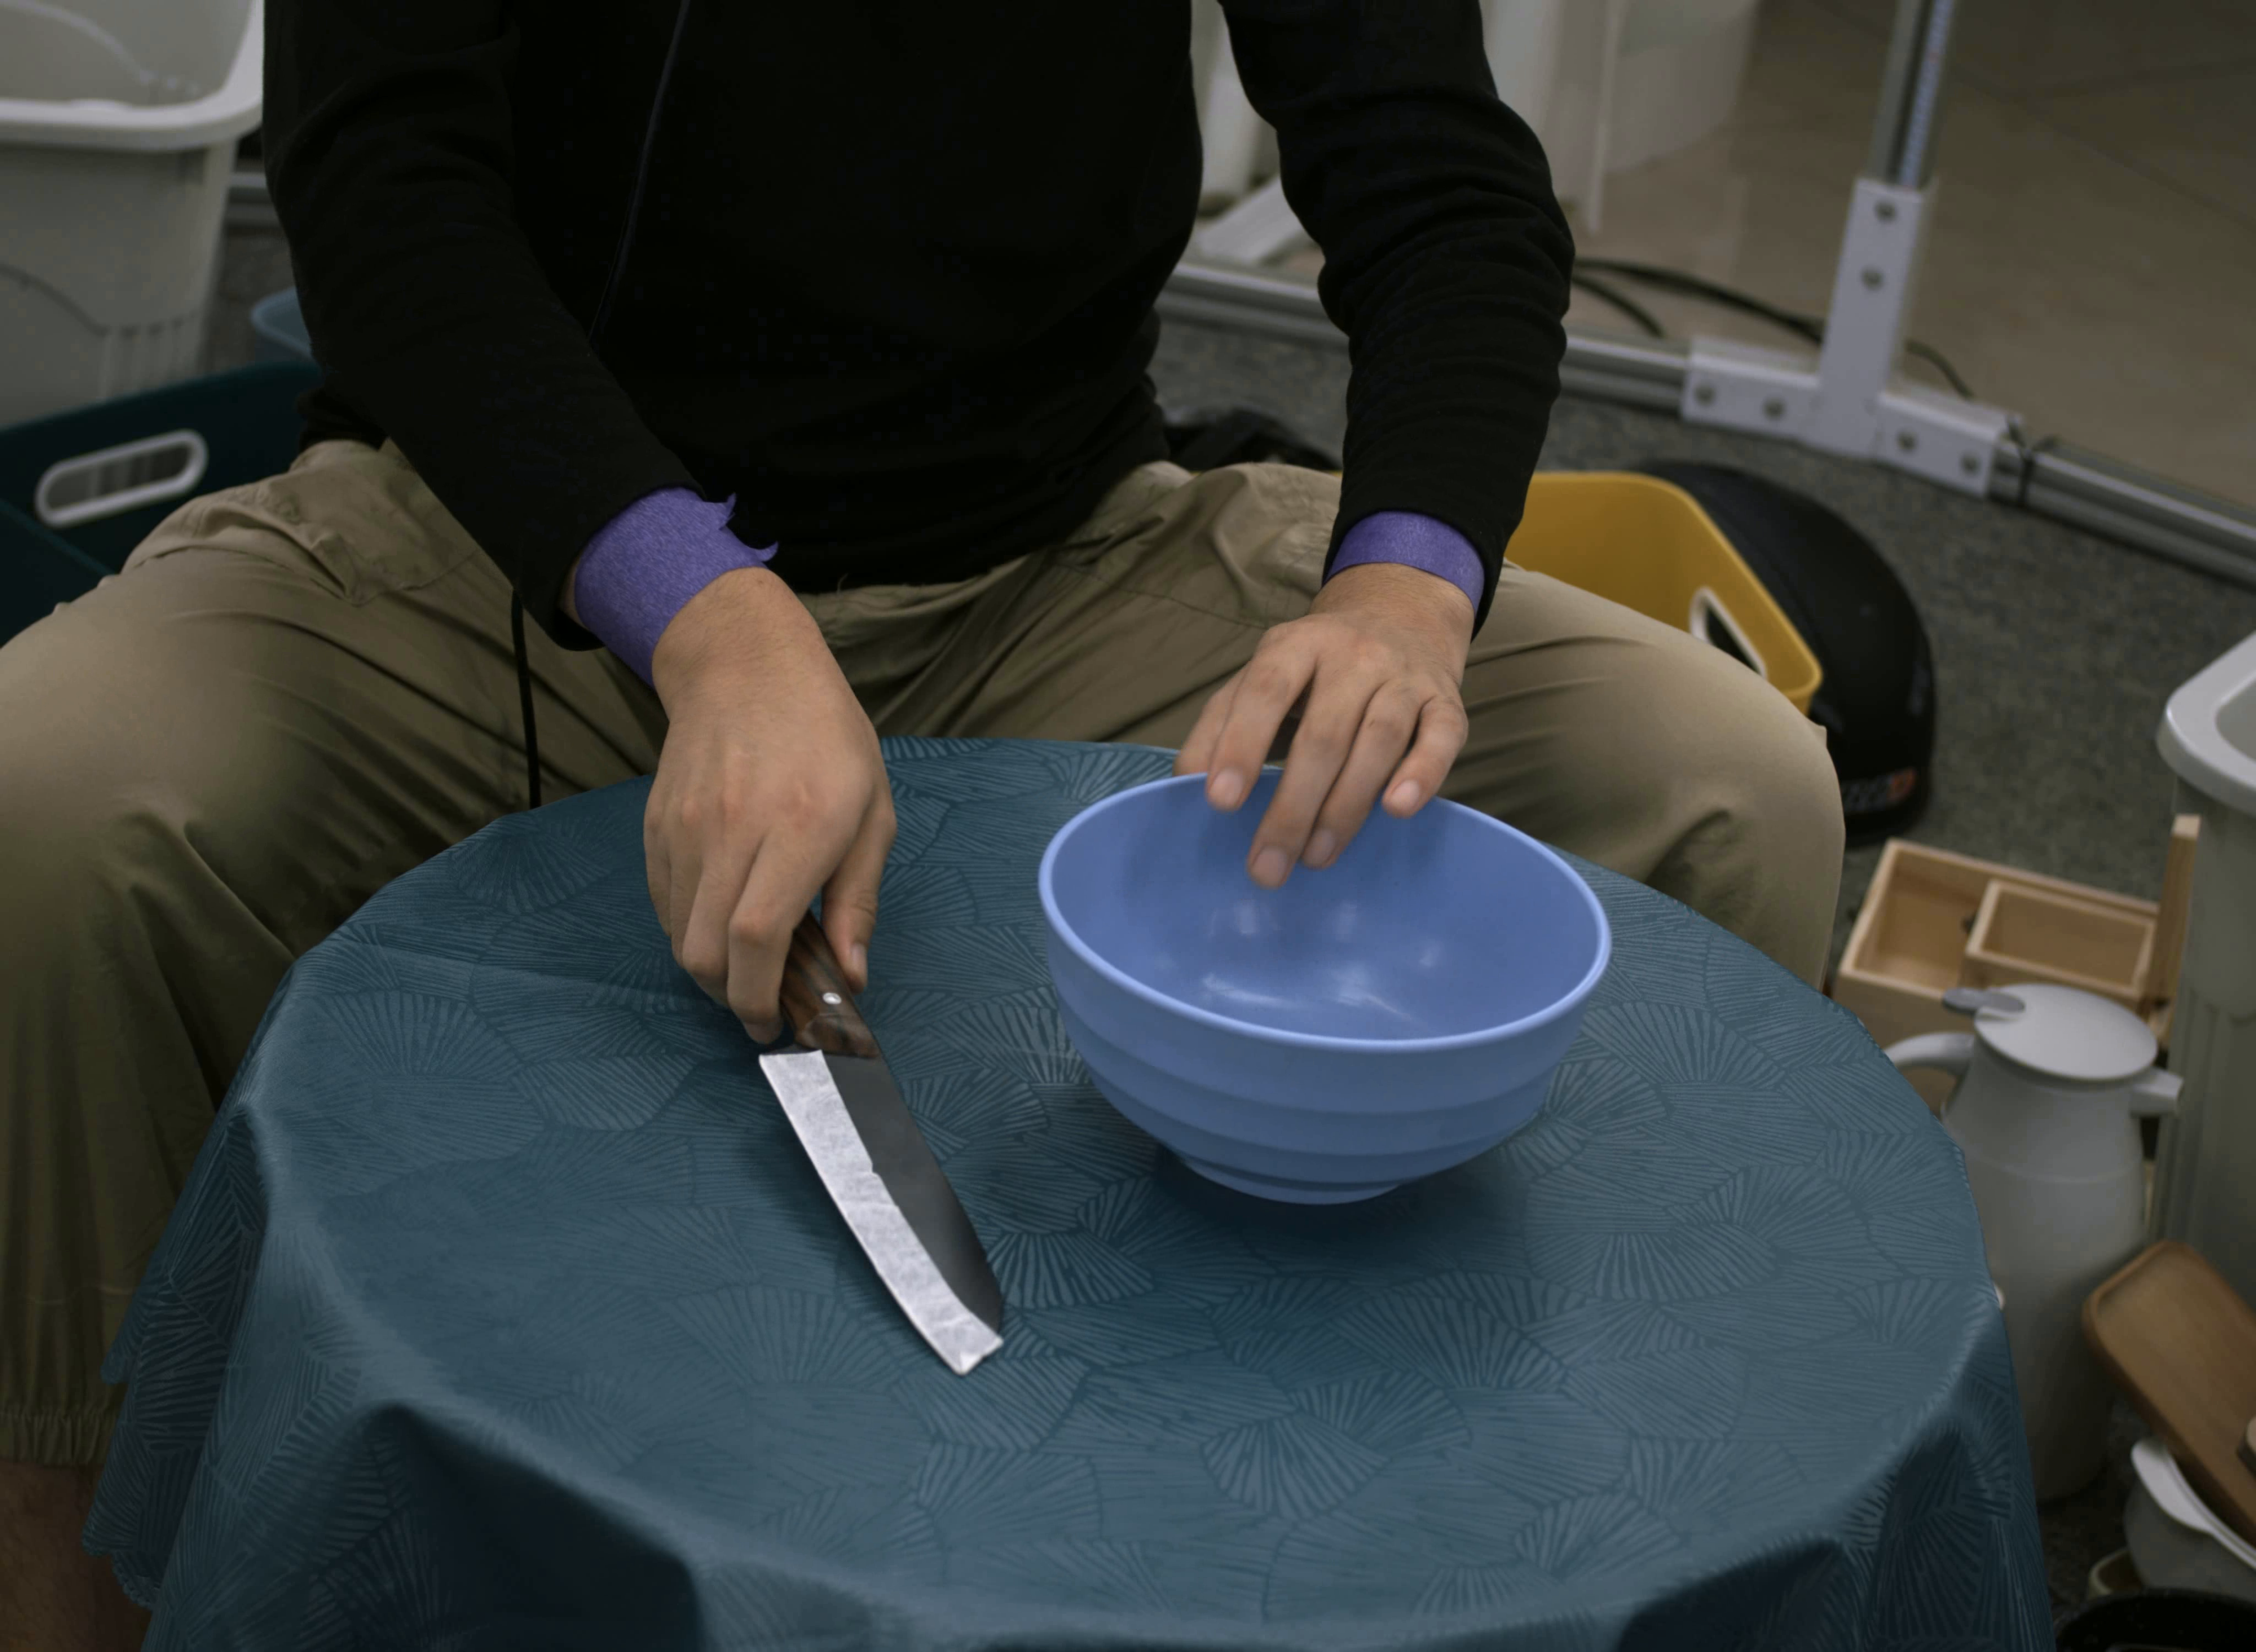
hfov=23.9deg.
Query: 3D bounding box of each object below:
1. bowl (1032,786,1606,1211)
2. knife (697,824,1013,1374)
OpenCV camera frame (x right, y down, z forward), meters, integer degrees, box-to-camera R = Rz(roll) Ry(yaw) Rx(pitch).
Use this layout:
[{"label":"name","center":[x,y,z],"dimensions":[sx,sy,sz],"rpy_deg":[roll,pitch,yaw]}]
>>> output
[{"label":"bowl","center":[0.061,0.069,1.829],"dimensions":[0.196,0.095,0.197],"rpy_deg":[4,25,-2]},{"label":"knife","center":[-0.096,0.090,1.802],"dimensions":[0.050,0.020,0.292],"rpy_deg":[-3,37,-22]}]
